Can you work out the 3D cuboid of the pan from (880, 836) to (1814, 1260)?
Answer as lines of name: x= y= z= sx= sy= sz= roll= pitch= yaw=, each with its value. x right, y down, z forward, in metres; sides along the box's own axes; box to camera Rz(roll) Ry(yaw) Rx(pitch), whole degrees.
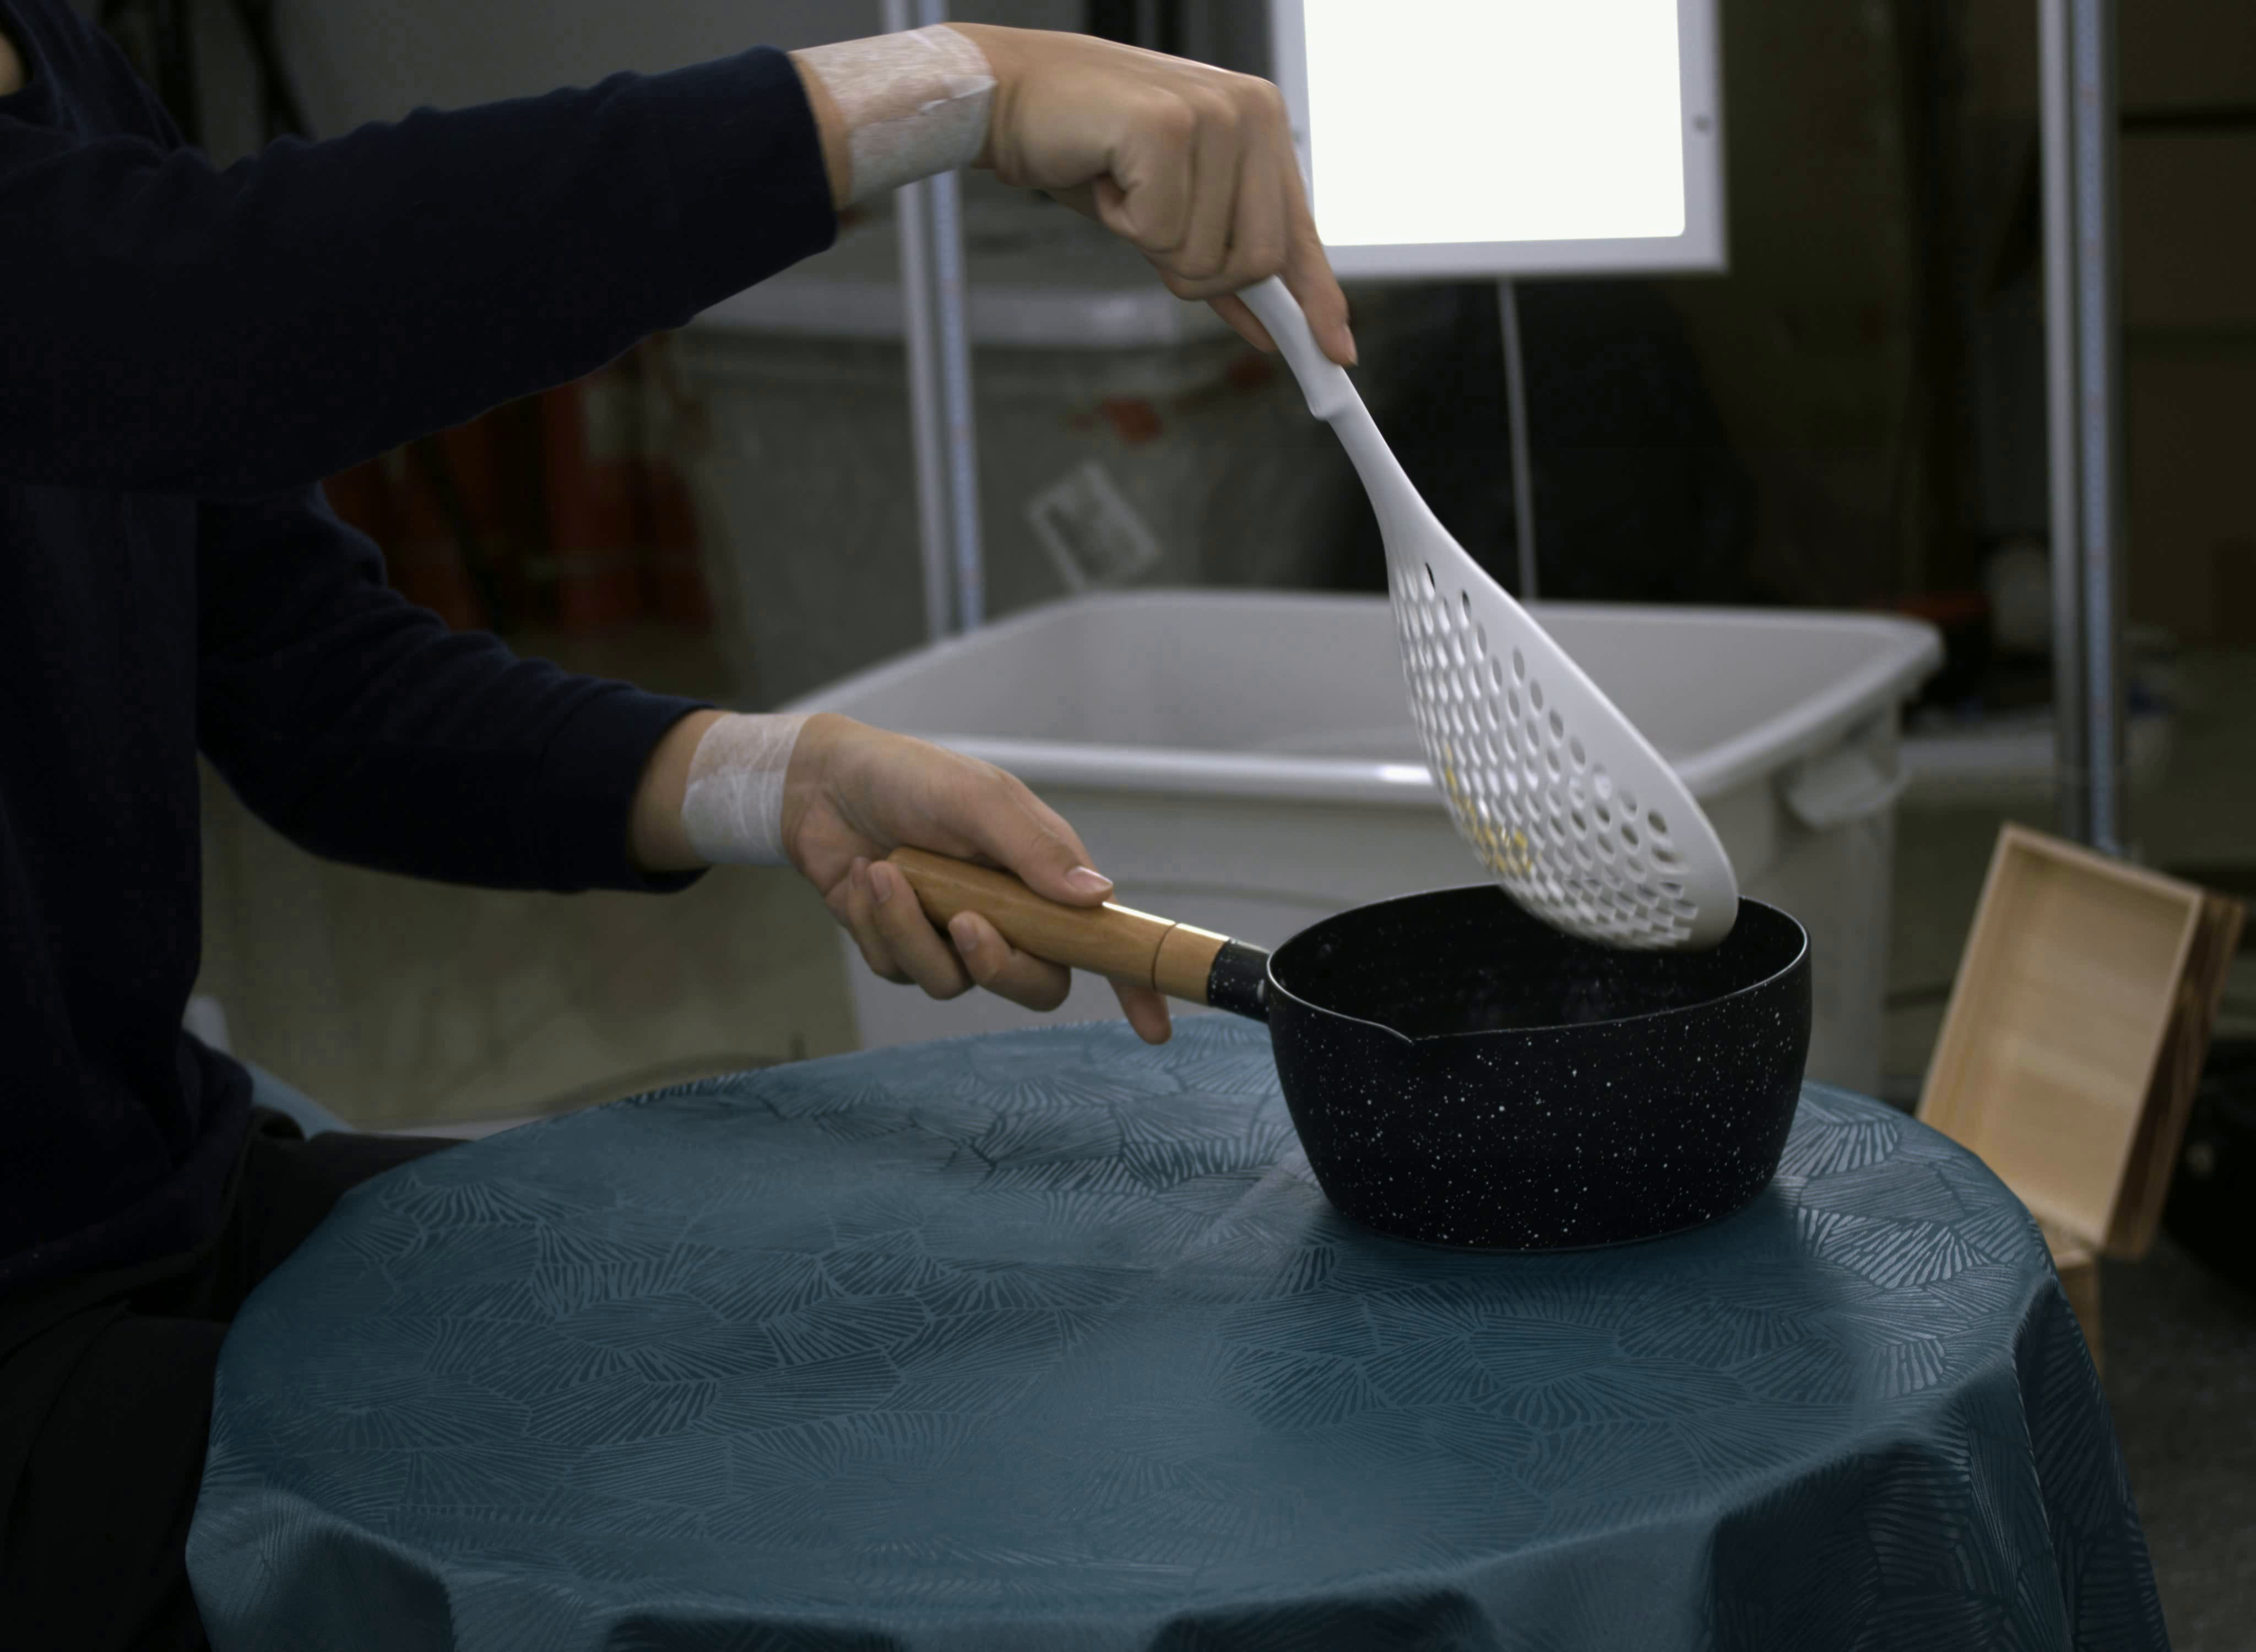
pan: x=0.068 y=0.067 z=1.887 sx=0.348 sy=0.108 sz=0.203 roll=4 pitch=17 yaw=27

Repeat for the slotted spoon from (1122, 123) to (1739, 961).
slotted spoon: x=0.089 y=-0.088 z=1.786 sx=0.049 sy=0.347 sz=0.139 roll=-36 pitch=22 yaw=-22
